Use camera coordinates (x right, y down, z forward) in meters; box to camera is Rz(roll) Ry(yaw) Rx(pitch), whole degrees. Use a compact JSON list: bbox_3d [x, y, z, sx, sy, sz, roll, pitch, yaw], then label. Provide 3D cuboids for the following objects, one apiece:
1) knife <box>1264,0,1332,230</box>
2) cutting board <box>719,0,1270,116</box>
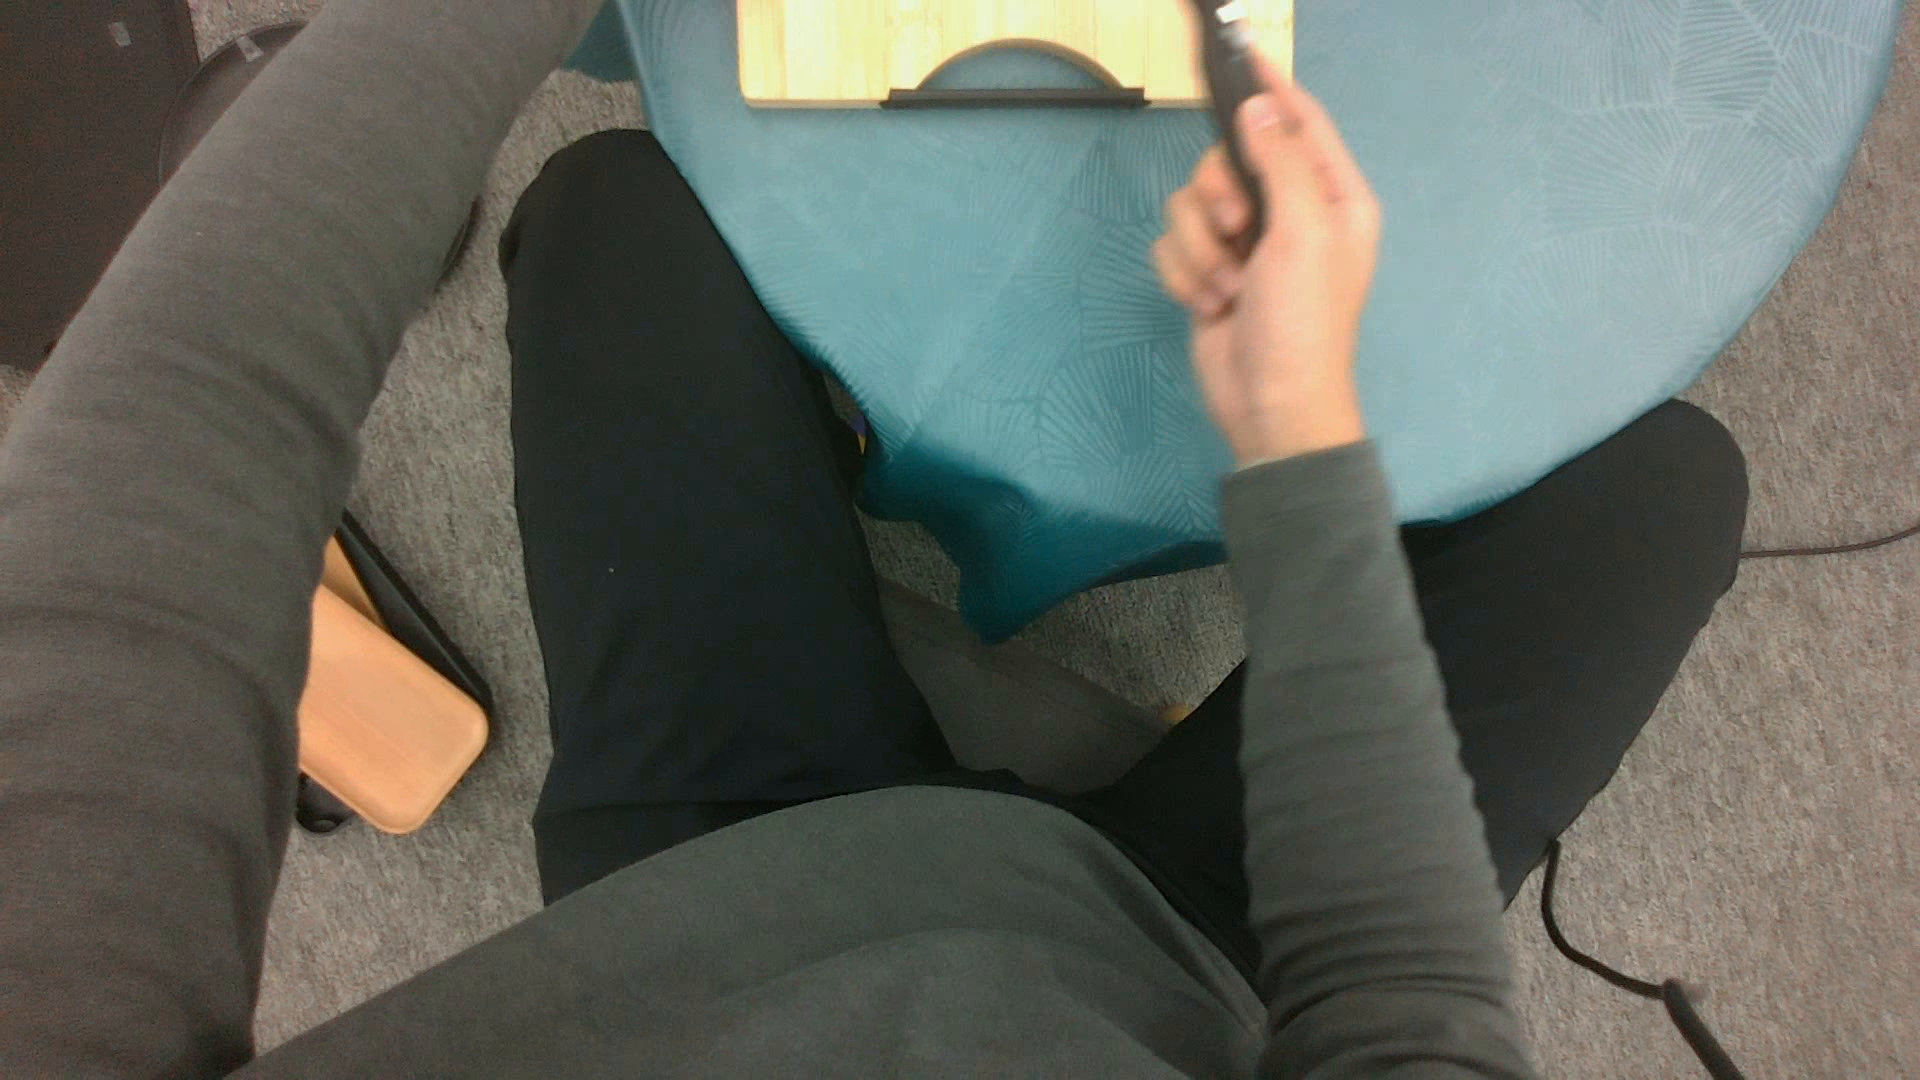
[{"bbox_3d":[0.126,-0.241,0.534,0.024,0.016,0.238,-9,95,-32],"label":"knife"},{"bbox_3d":[0.013,-0.361,0.598,0.251,0.023,0.348,-3,94,-4],"label":"cutting board"}]
